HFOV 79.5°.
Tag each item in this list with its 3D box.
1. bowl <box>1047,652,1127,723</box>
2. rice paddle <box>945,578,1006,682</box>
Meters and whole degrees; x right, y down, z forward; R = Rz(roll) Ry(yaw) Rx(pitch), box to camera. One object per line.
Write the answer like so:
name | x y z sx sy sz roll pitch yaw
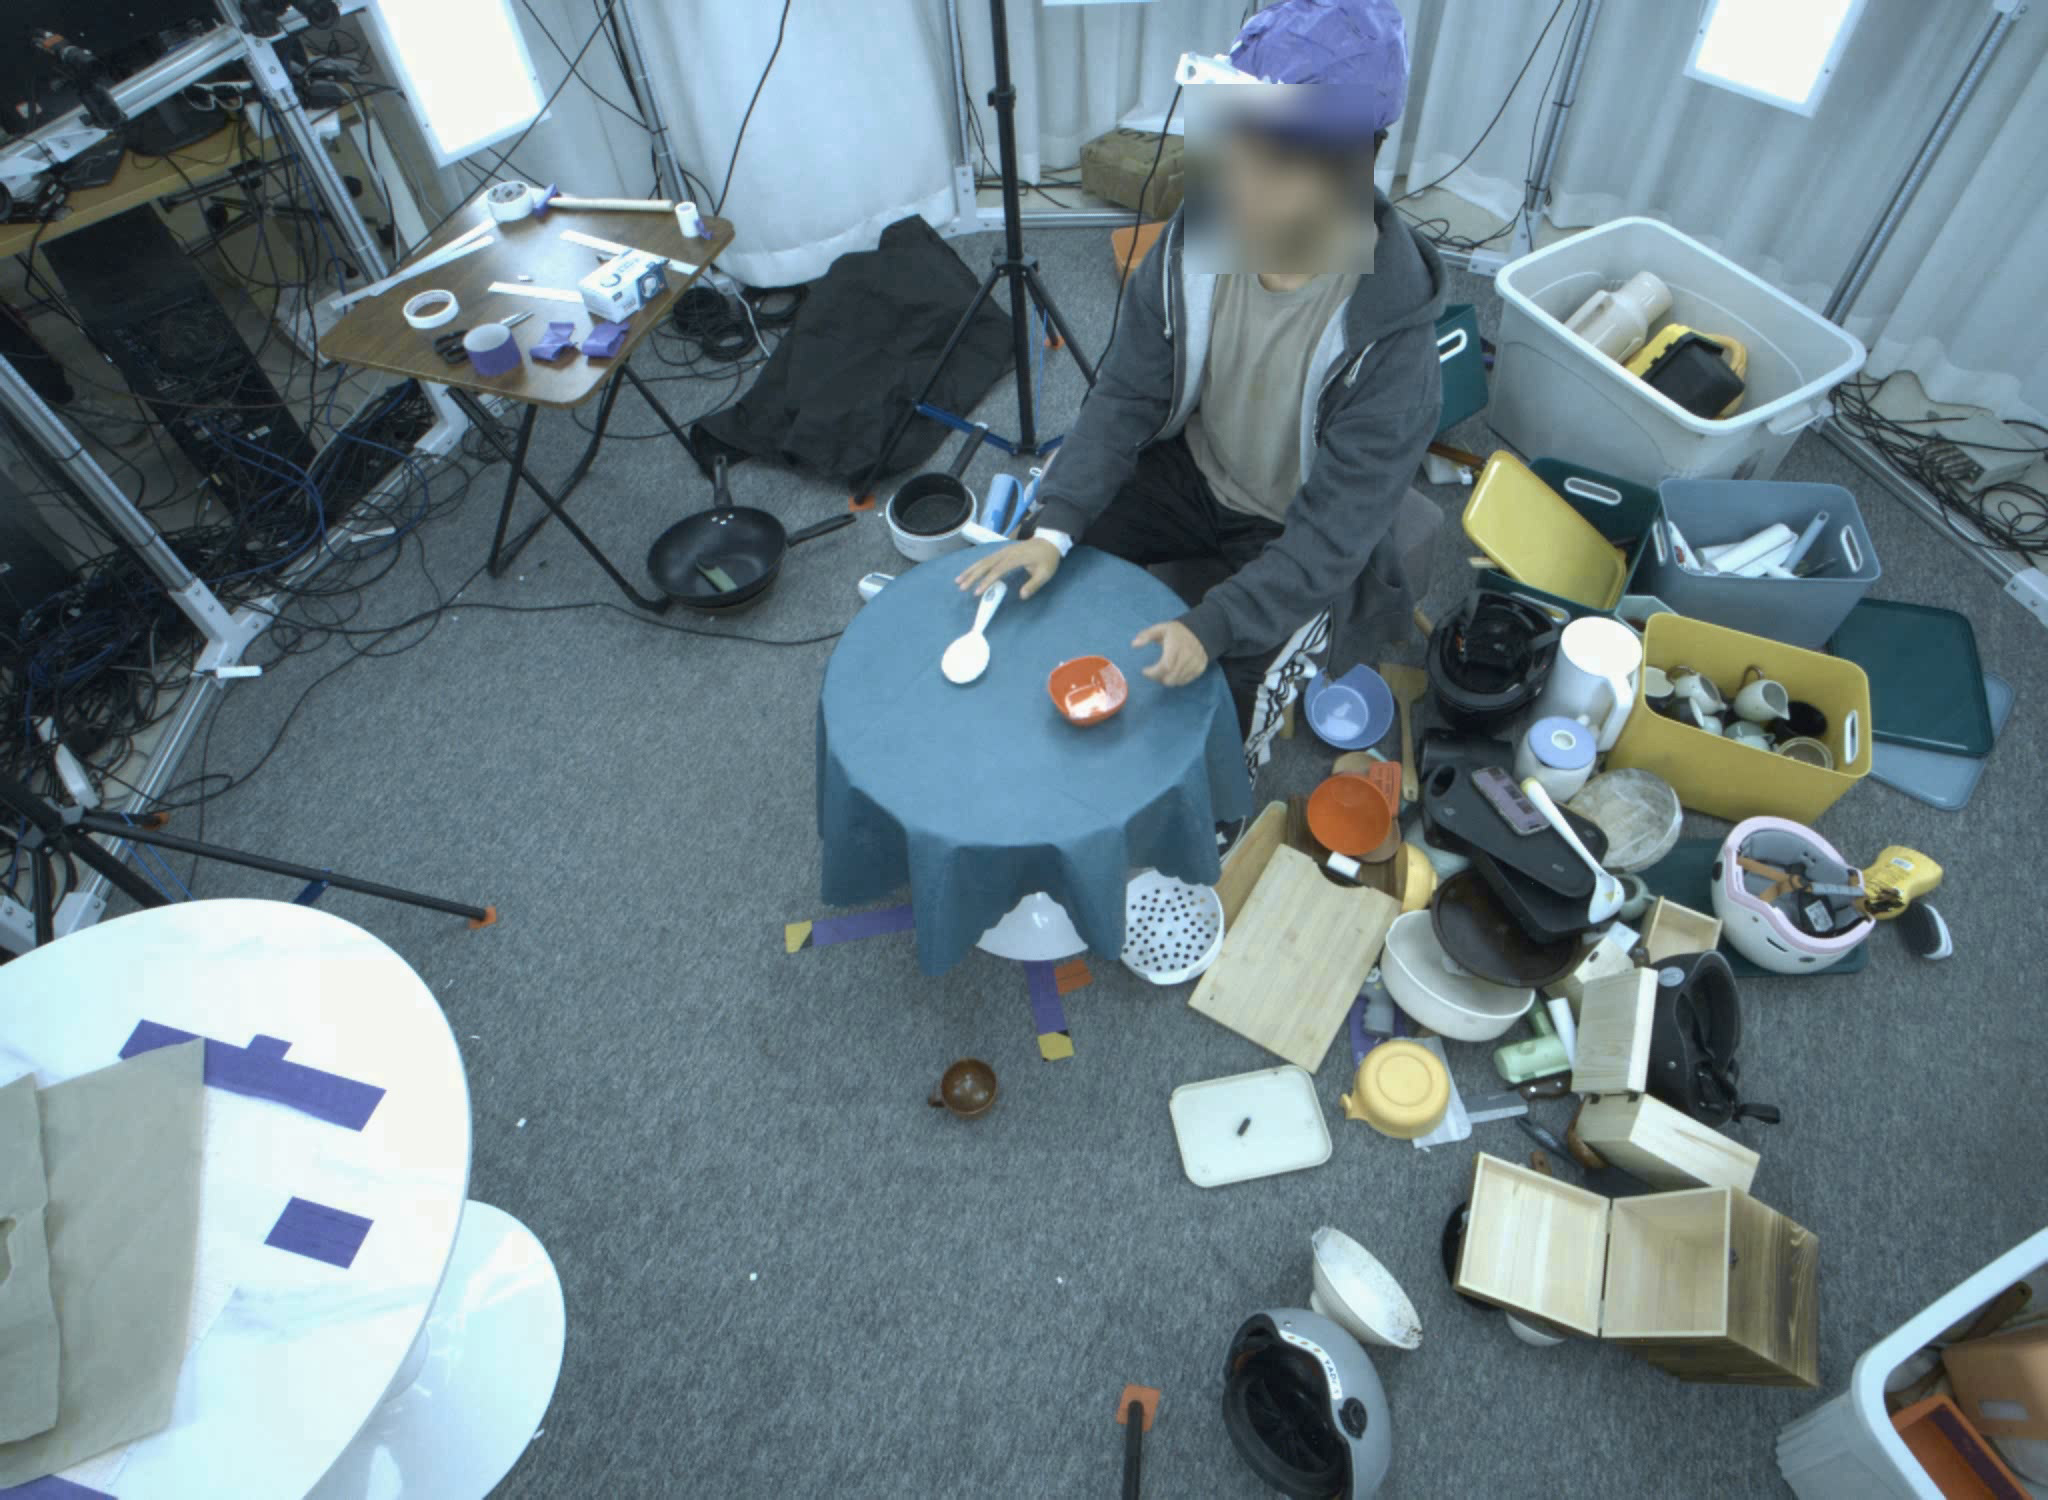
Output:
bowl | 0.093 -0.084 1.811 0.119 0.052 0.117 -1 53 3
rice paddle | -0.070 -0.185 1.905 0.068 0.030 0.204 11 56 12
